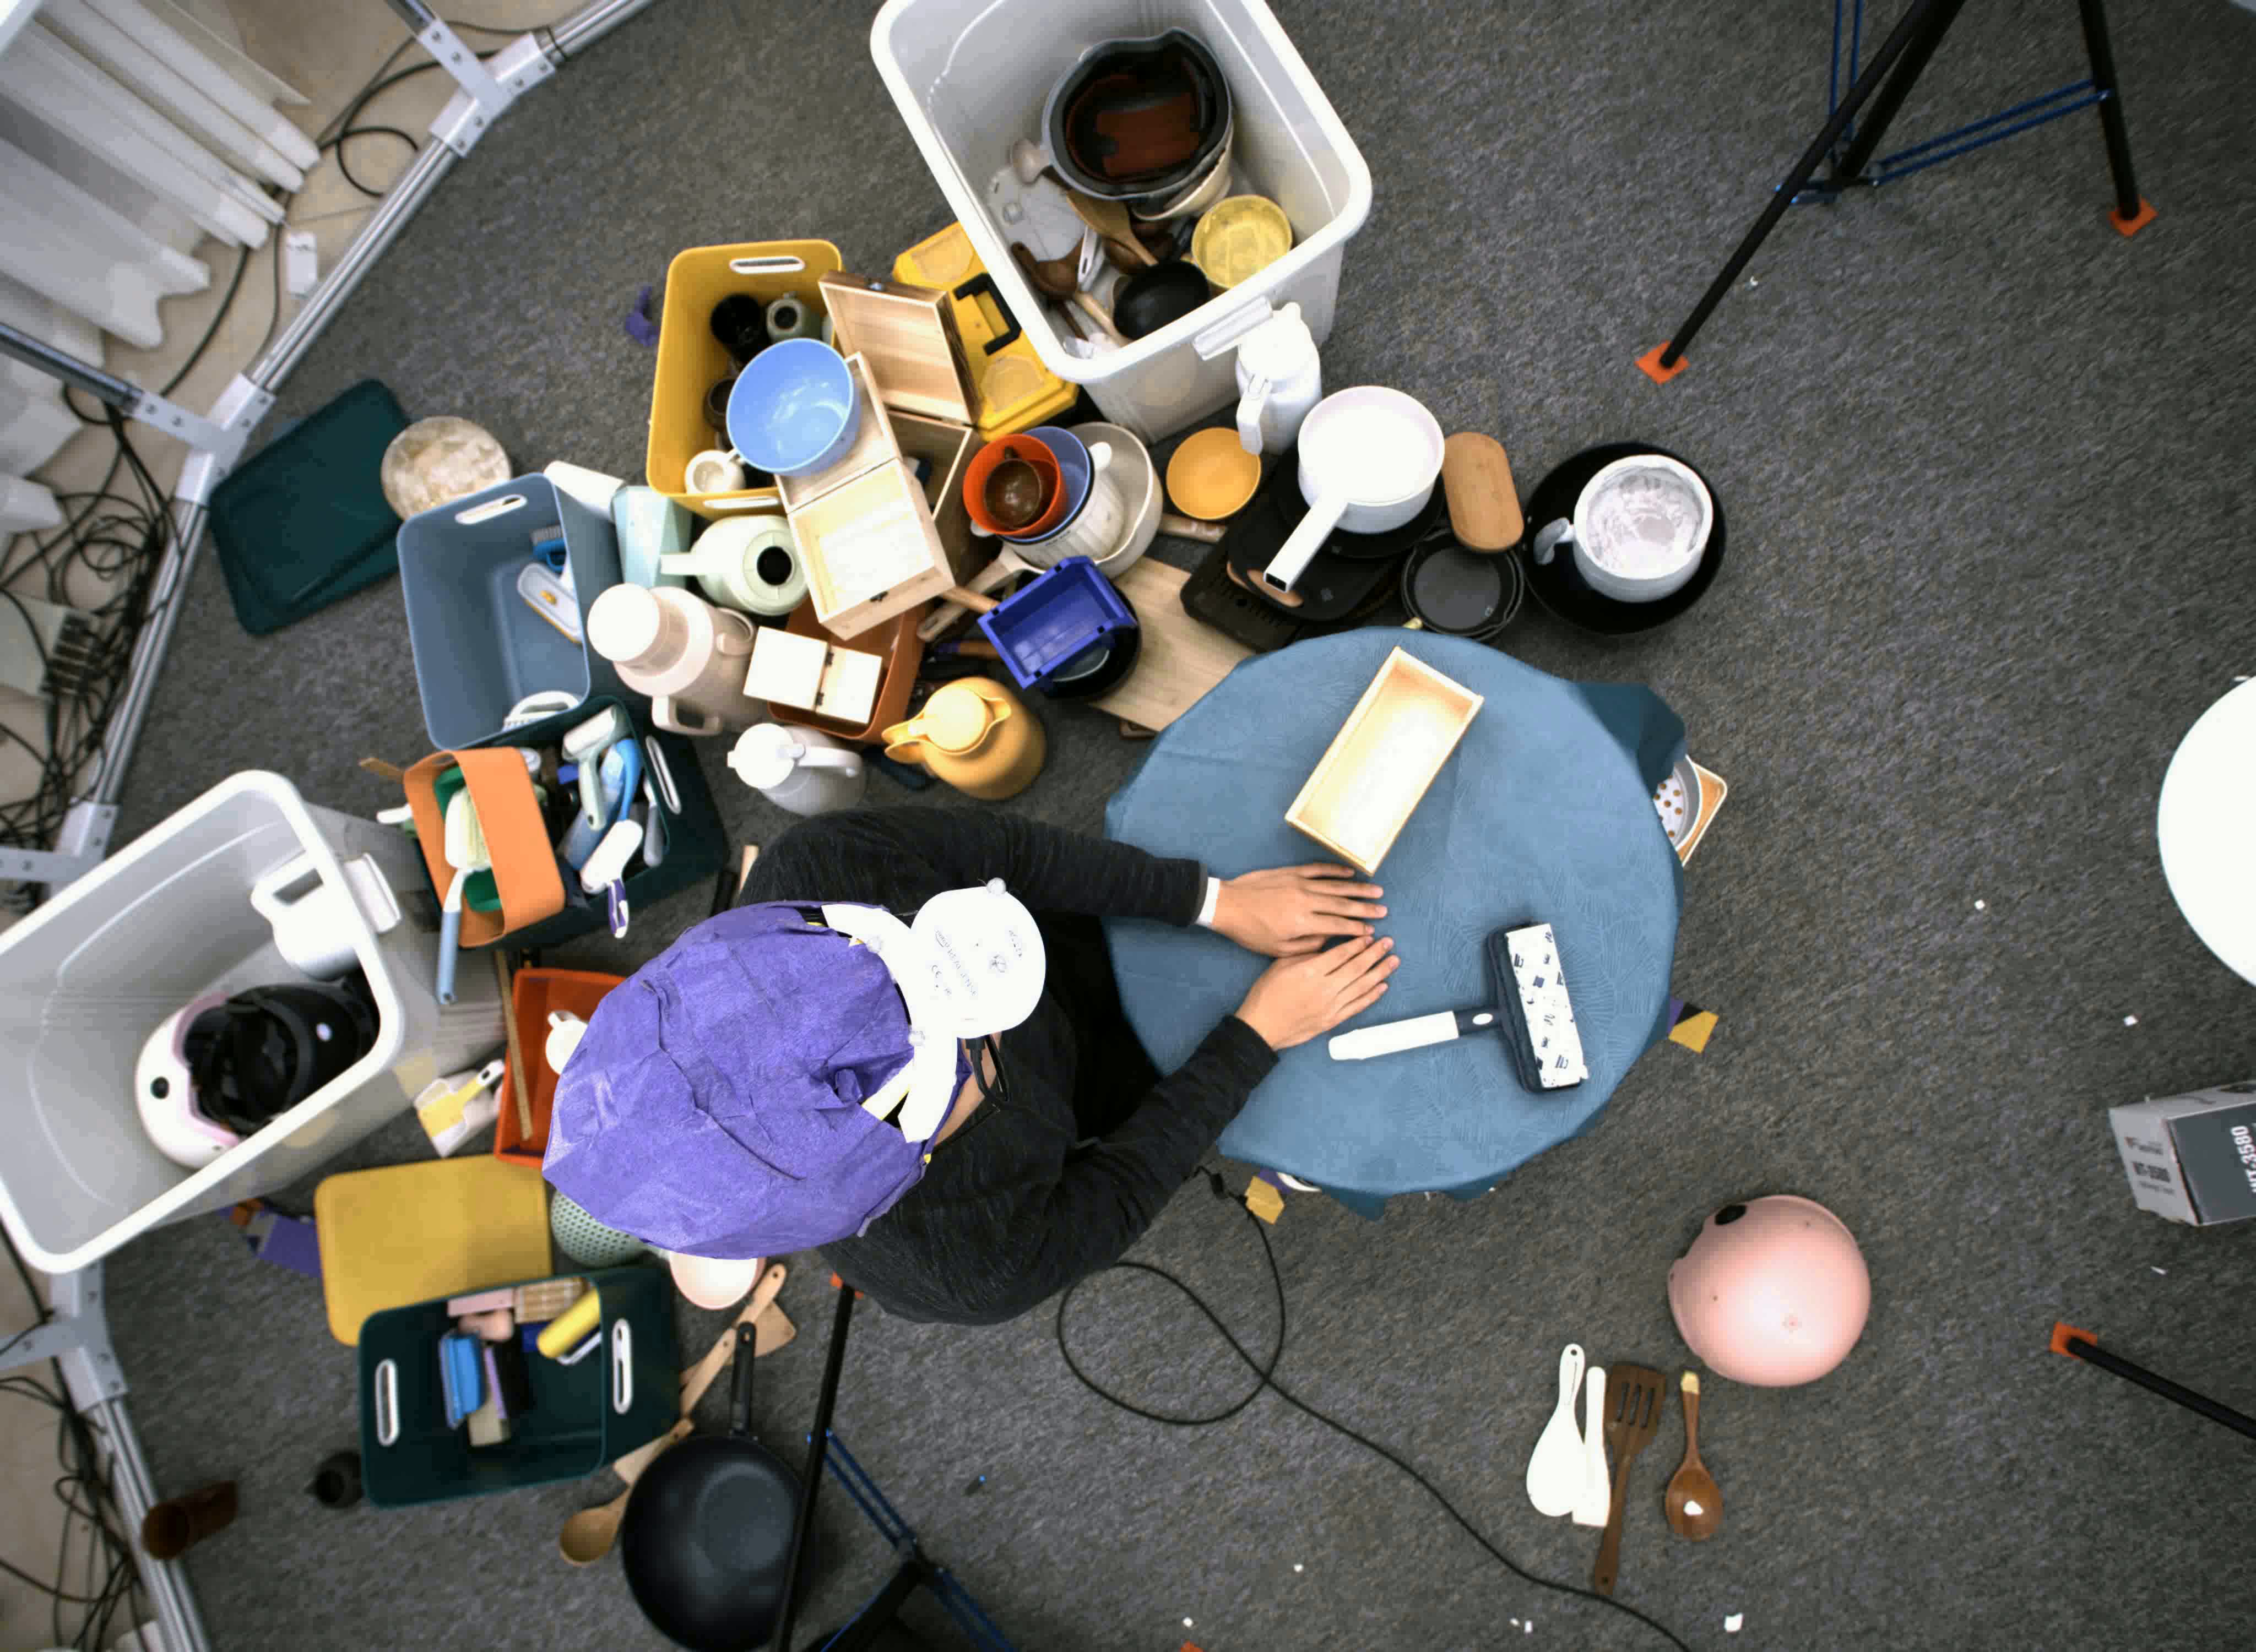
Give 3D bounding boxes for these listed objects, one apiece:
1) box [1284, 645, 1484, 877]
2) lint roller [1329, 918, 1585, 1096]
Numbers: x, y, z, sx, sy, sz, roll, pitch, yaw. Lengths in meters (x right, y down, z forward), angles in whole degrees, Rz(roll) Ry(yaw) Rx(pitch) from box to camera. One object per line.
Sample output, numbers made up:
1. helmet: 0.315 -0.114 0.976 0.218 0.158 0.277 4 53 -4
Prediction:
1. box: 0.265 -0.066 1.428 0.107 0.080 0.212 33 93 11
2. lint roller: 0.329 0.205 1.420 0.248 0.050 0.175 -14 85 11
